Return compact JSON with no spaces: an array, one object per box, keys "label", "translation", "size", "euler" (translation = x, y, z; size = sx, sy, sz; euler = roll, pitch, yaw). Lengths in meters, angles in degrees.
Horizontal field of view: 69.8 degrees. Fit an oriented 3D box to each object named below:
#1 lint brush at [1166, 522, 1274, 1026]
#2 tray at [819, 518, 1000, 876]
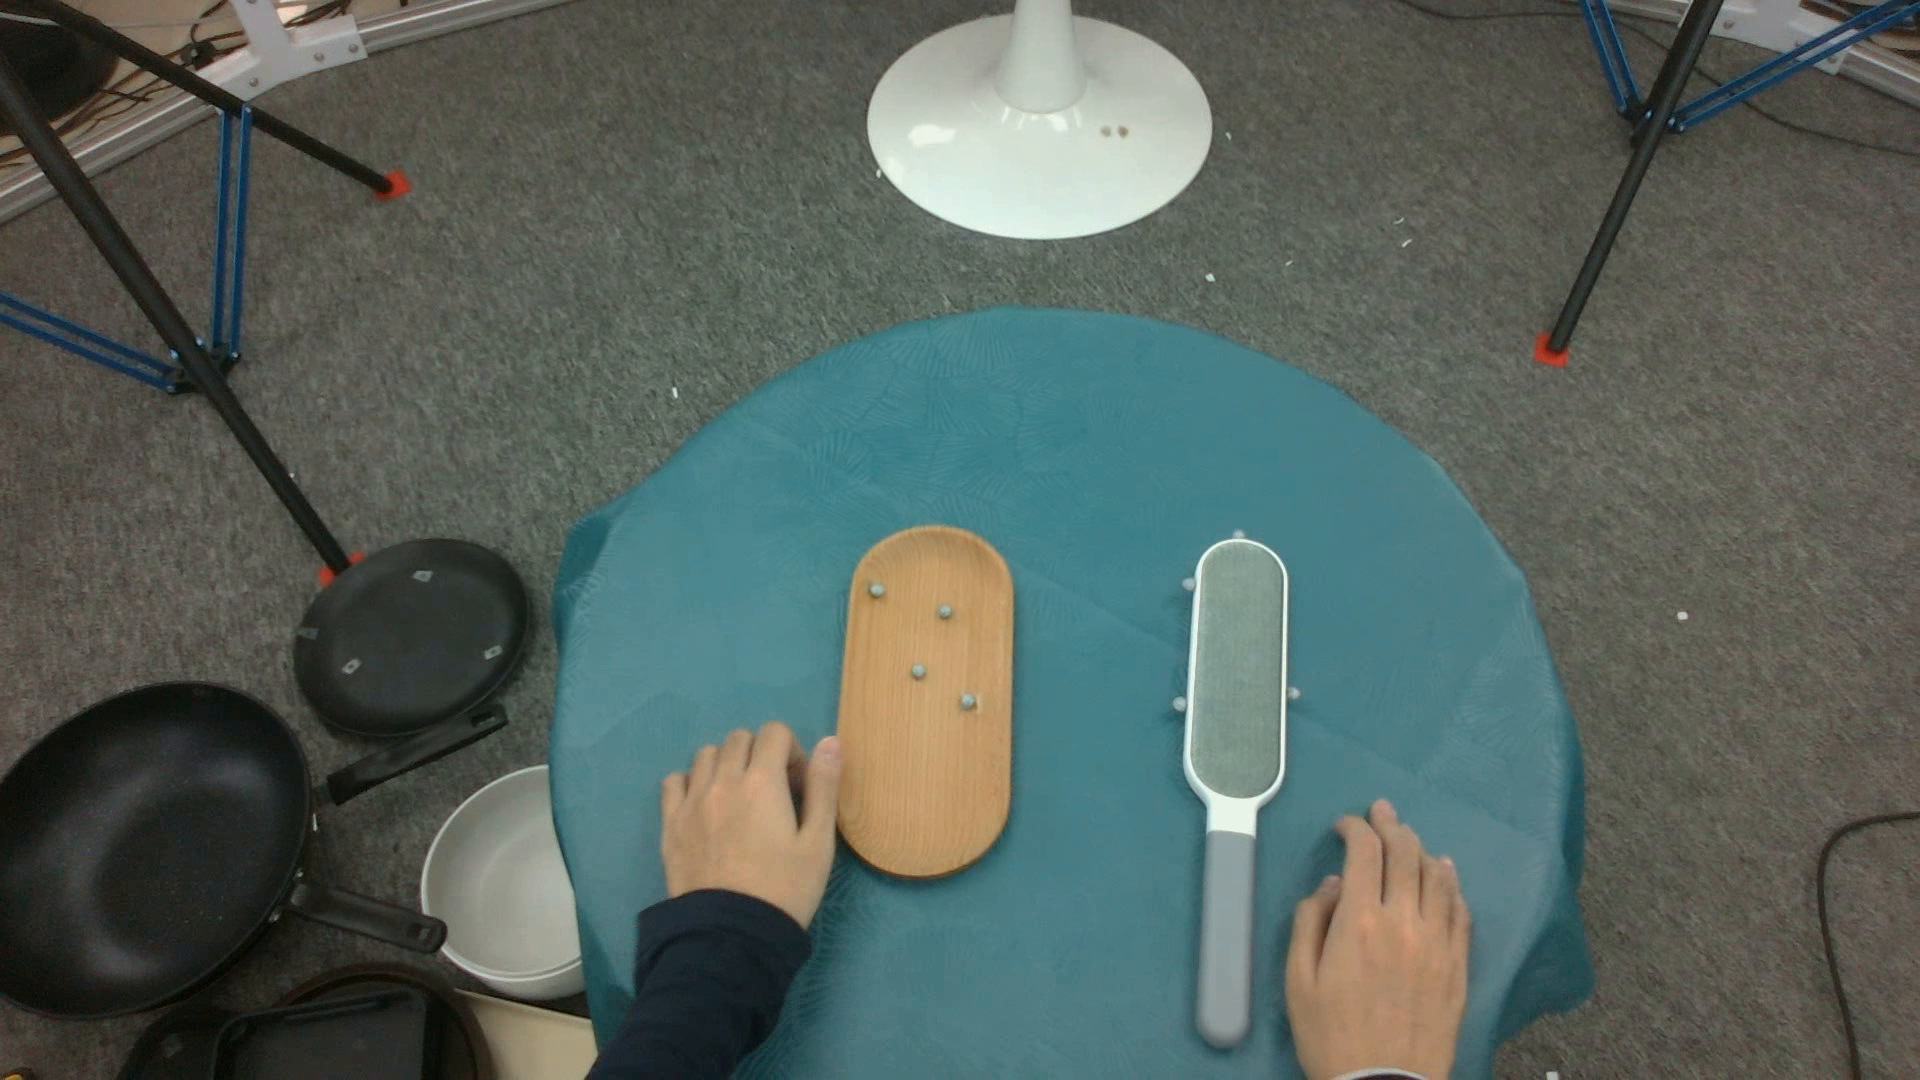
[{"label":"lint brush","translation":[0.145,0.117,0.779],"size":[0.060,0.021,0.310],"euler":[10,56,0]},{"label":"tray","translation":[-0.028,0.085,0.807],"size":[0.101,0.020,0.232],"euler":[-1,57,2]}]
